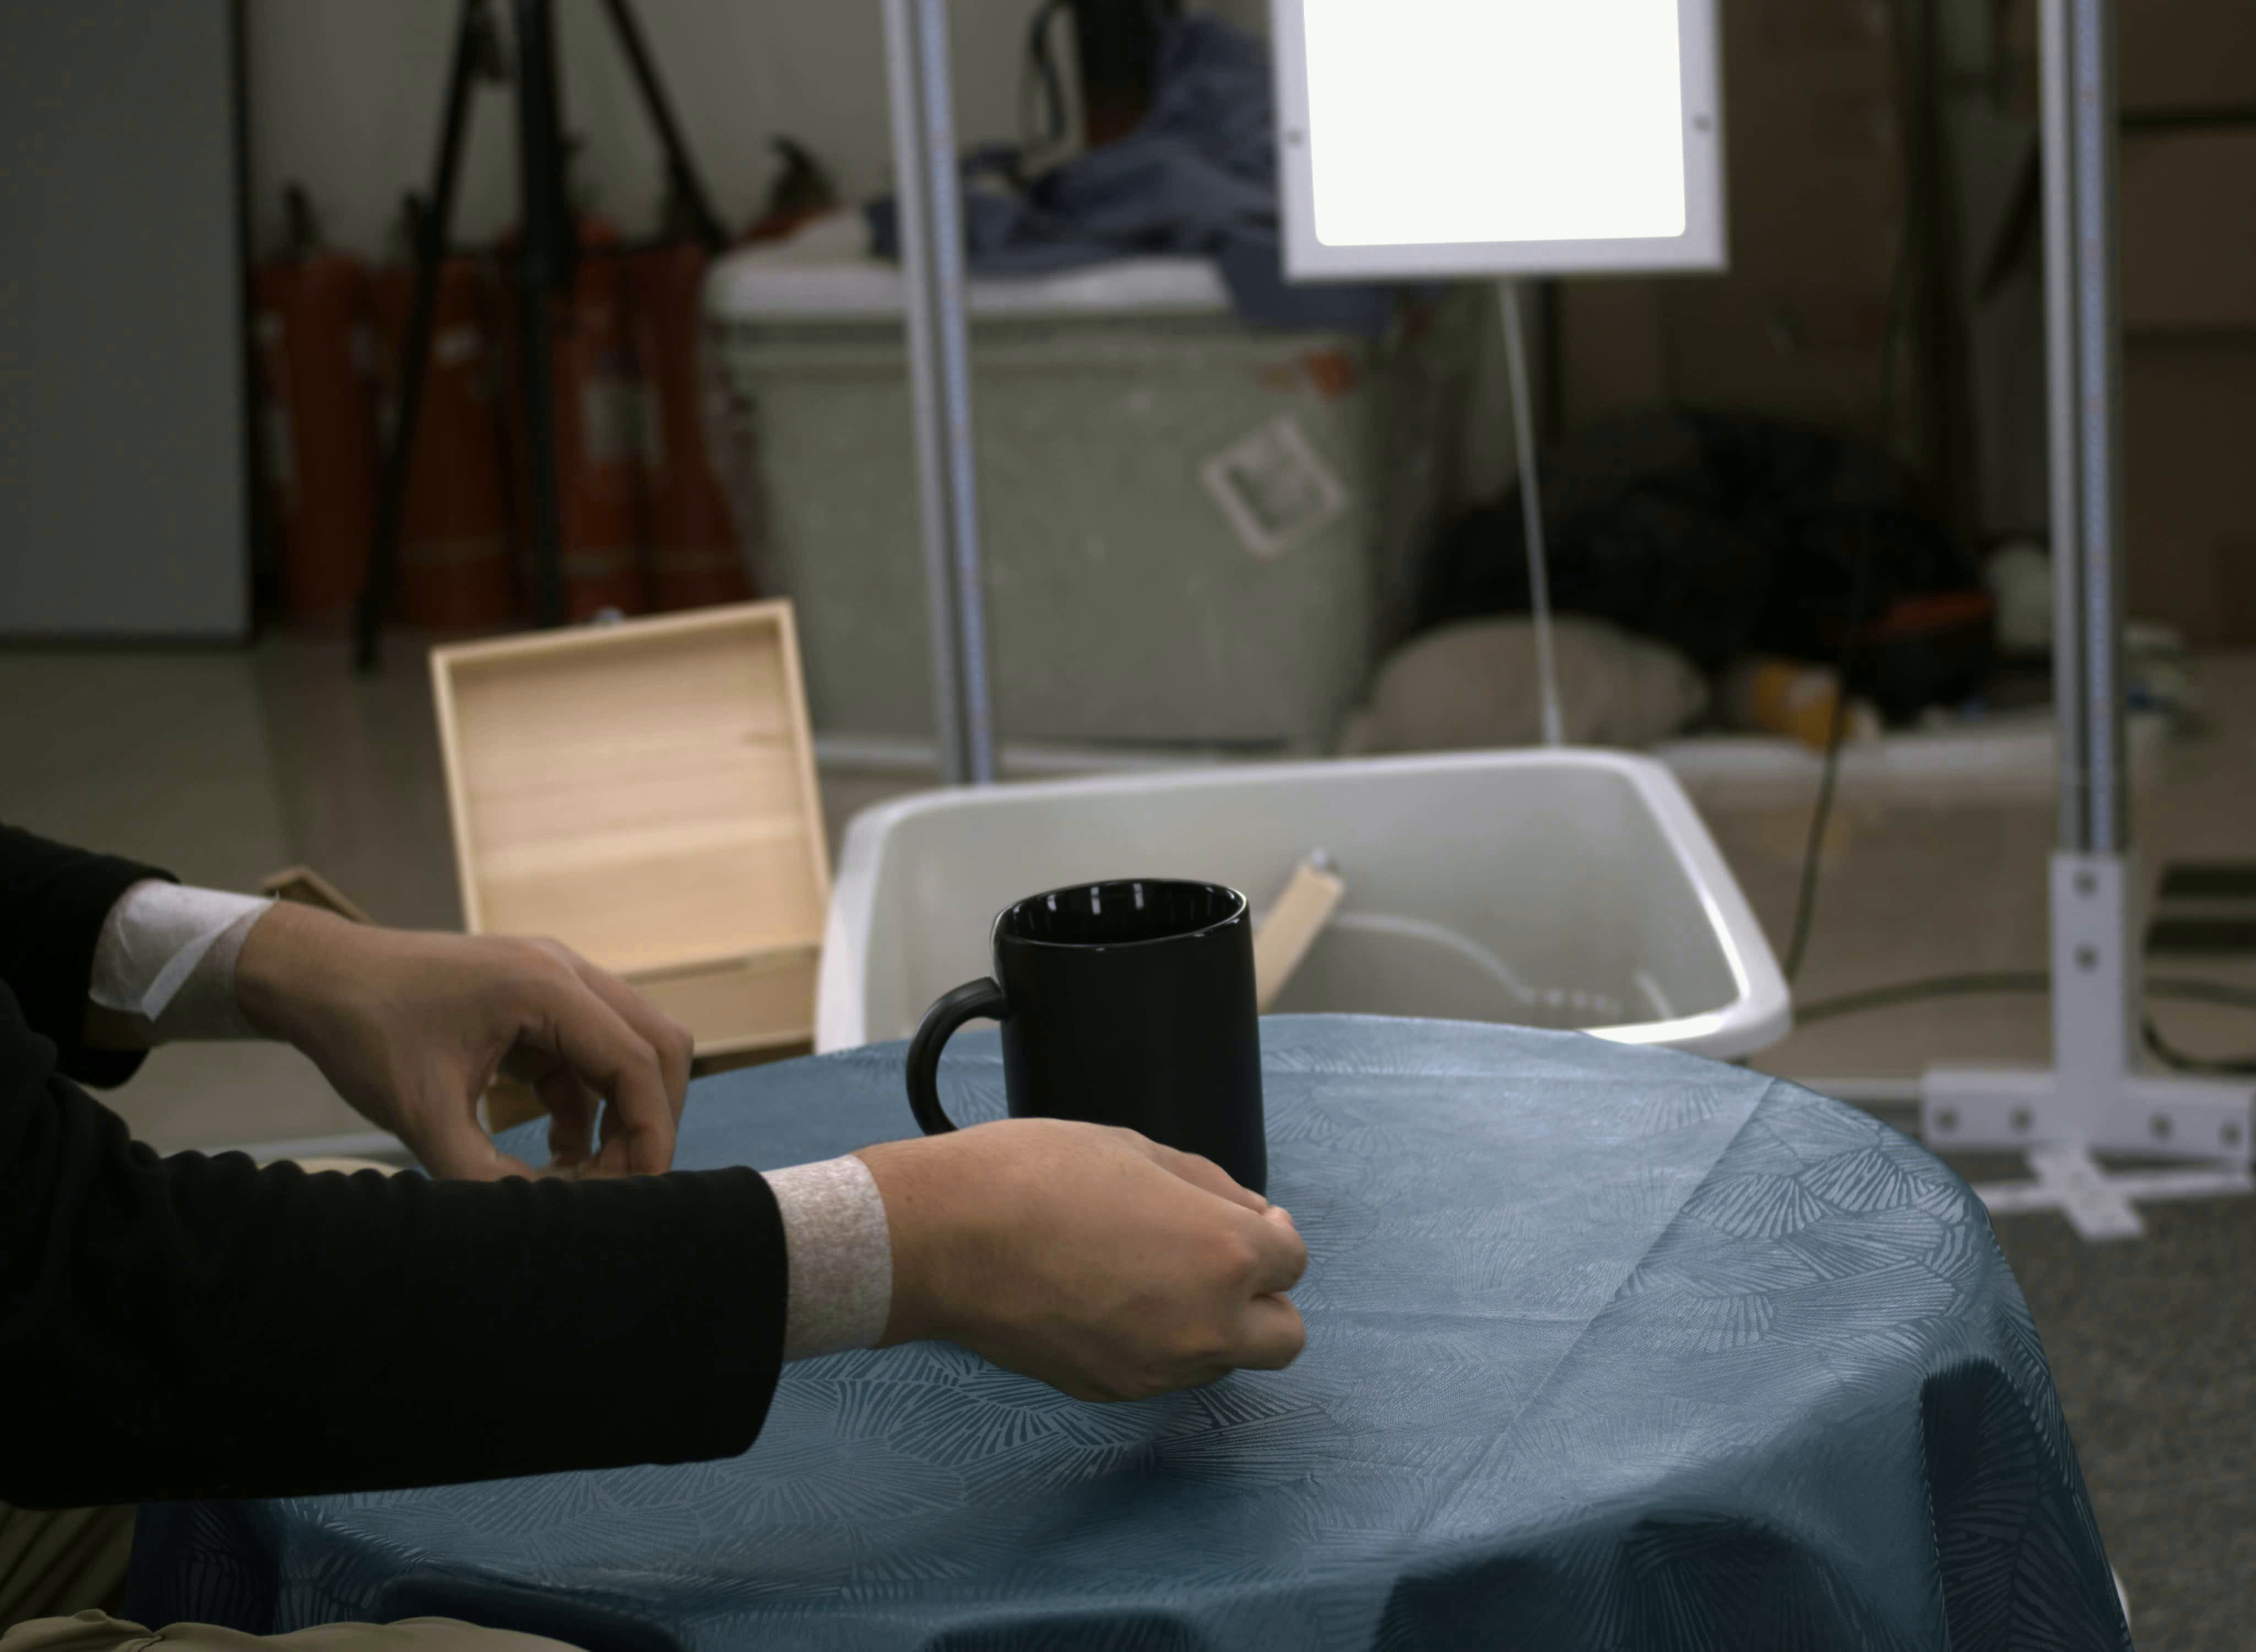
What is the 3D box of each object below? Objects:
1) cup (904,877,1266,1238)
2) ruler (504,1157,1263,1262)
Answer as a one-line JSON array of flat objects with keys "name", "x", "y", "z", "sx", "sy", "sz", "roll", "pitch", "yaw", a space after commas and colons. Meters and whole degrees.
[{"name": "cup", "x": -0.016, "y": 0.081, "z": 1.876, "sx": 0.122, "sy": 0.105, "sz": 0.089, "roll": -8, "pitch": 16, "yaw": -10}, {"name": "ruler", "x": -0.088, "y": 0.124, "z": 1.797, "sx": 0.339, "sy": 0.022, "sz": 0.027, "roll": 0, "pitch": 13, "yaw": 44}]
